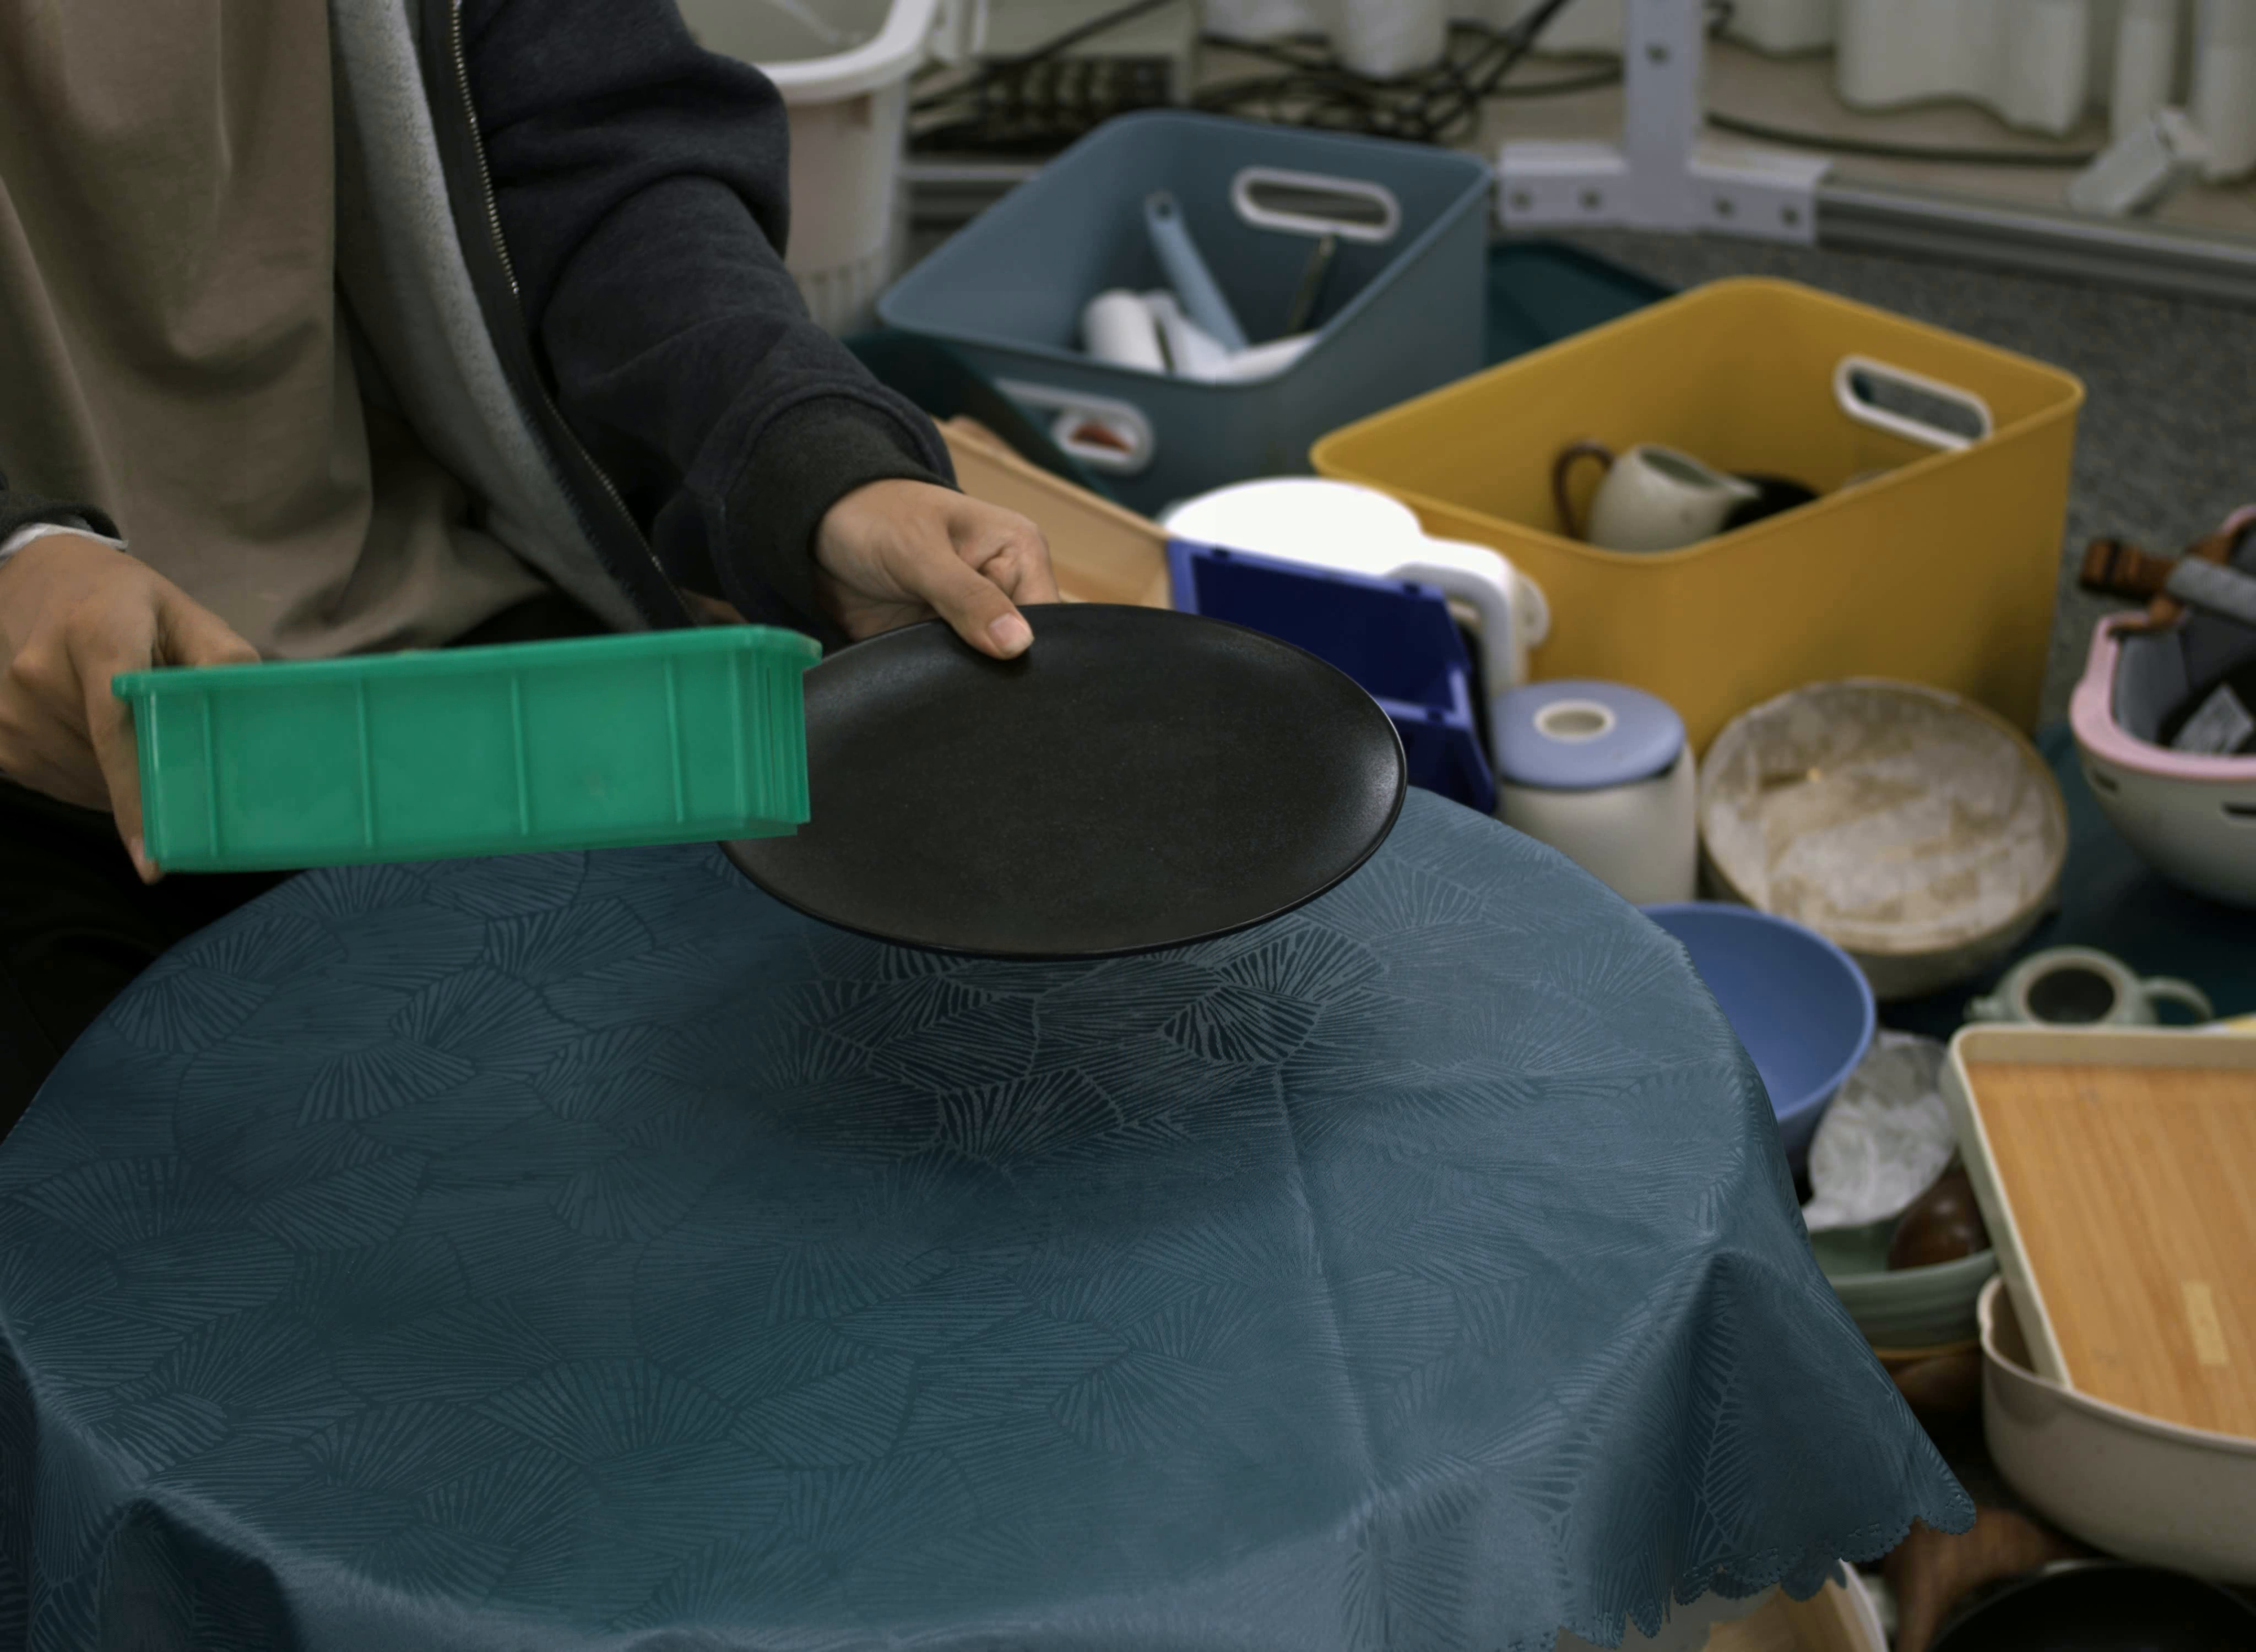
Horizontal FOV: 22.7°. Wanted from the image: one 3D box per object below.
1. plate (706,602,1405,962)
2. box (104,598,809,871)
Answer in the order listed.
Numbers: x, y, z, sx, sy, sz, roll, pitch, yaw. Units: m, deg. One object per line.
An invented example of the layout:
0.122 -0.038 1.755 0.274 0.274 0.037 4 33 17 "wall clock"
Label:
-0.025 -0.011 1.945 0.243 0.023 0.248 -1 30 1 "plate"
-0.203 -0.026 1.741 0.209 0.066 0.138 -6 -5 2 "box"
